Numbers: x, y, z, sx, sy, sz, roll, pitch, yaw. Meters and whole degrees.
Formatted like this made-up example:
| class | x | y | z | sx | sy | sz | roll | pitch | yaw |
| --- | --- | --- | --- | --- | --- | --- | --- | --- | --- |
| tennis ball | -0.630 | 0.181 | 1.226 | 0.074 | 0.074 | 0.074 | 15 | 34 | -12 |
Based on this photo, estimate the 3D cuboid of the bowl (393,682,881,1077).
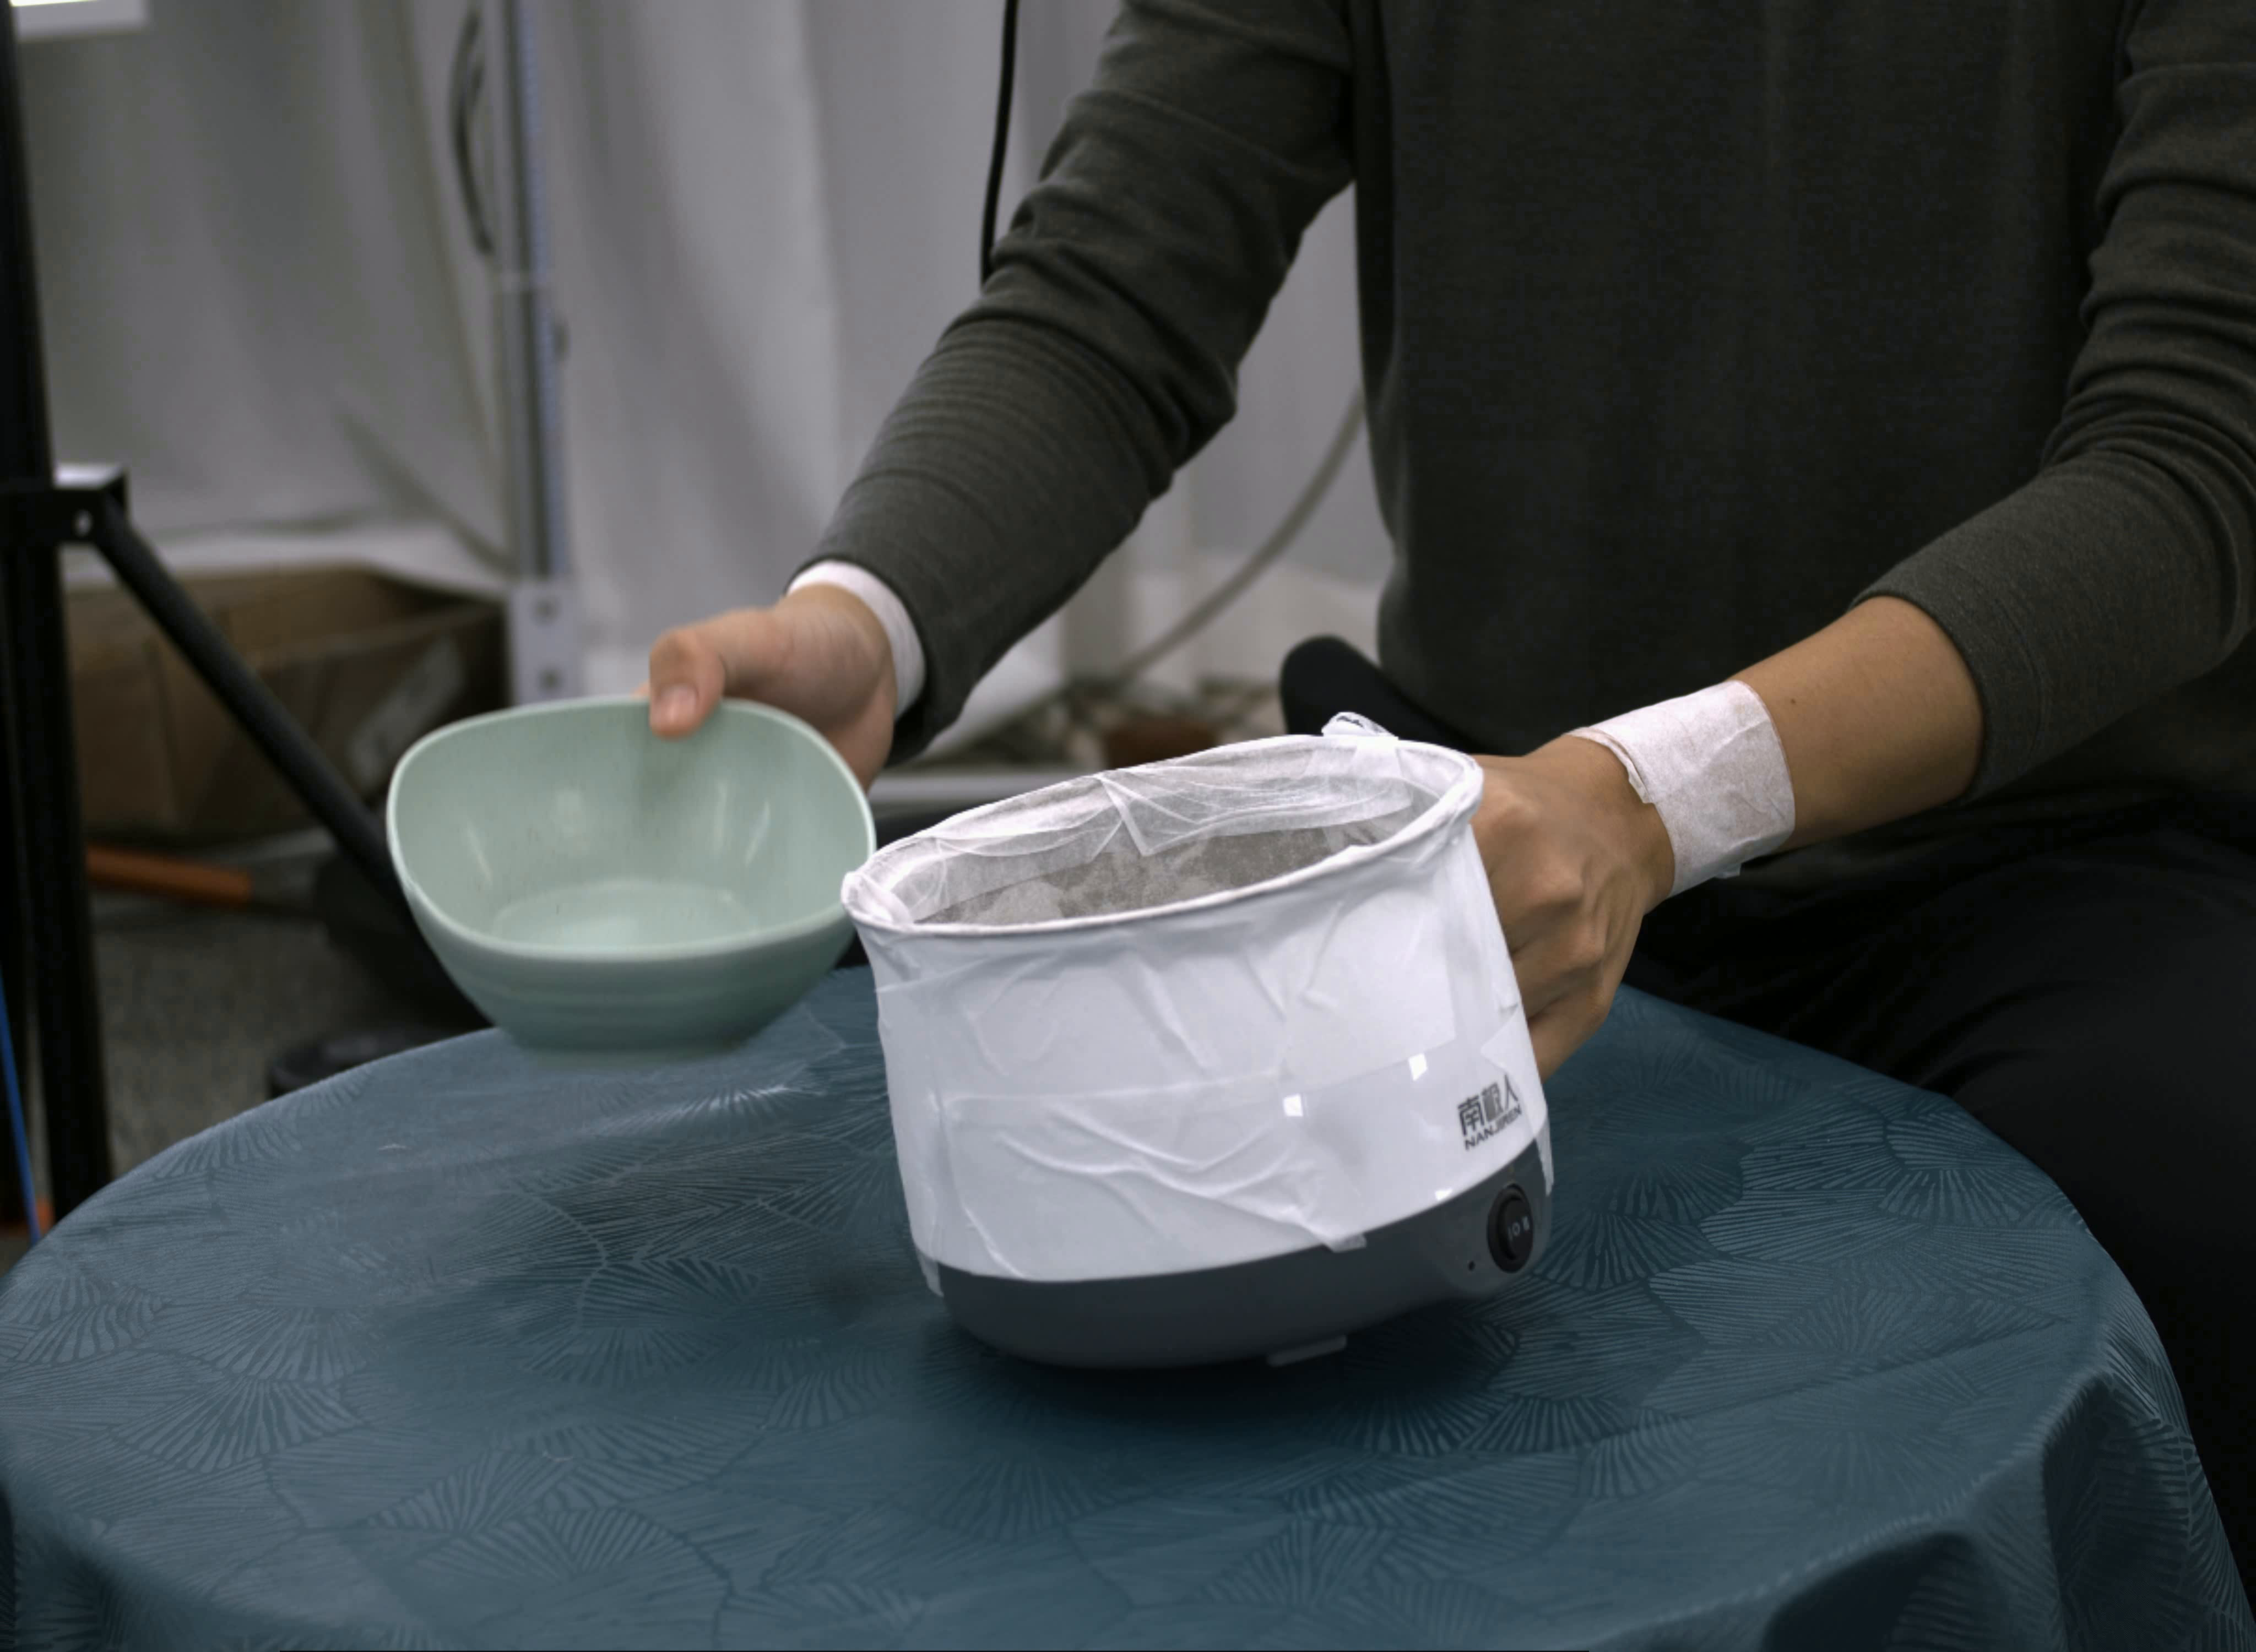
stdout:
| class | x | y | z | sx | sy | sz | roll | pitch | yaw |
| --- | --- | --- | --- | --- | --- | --- | --- | --- | --- |
| bowl | -0.141 | 0.023 | 1.543 | 0.150 | 0.058 | 0.153 | 0 | 37 | -1 |

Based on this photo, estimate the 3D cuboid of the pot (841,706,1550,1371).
| class | x | y | z | sx | sy | sz | roll | pitch | yaw |
| --- | --- | --- | --- | --- | --- | --- | --- | --- | --- |
| pot | 0.035 | 0.053 | 1.458 | 0.182 | 0.136 | 0.229 | -2 | 16 | 34 |
